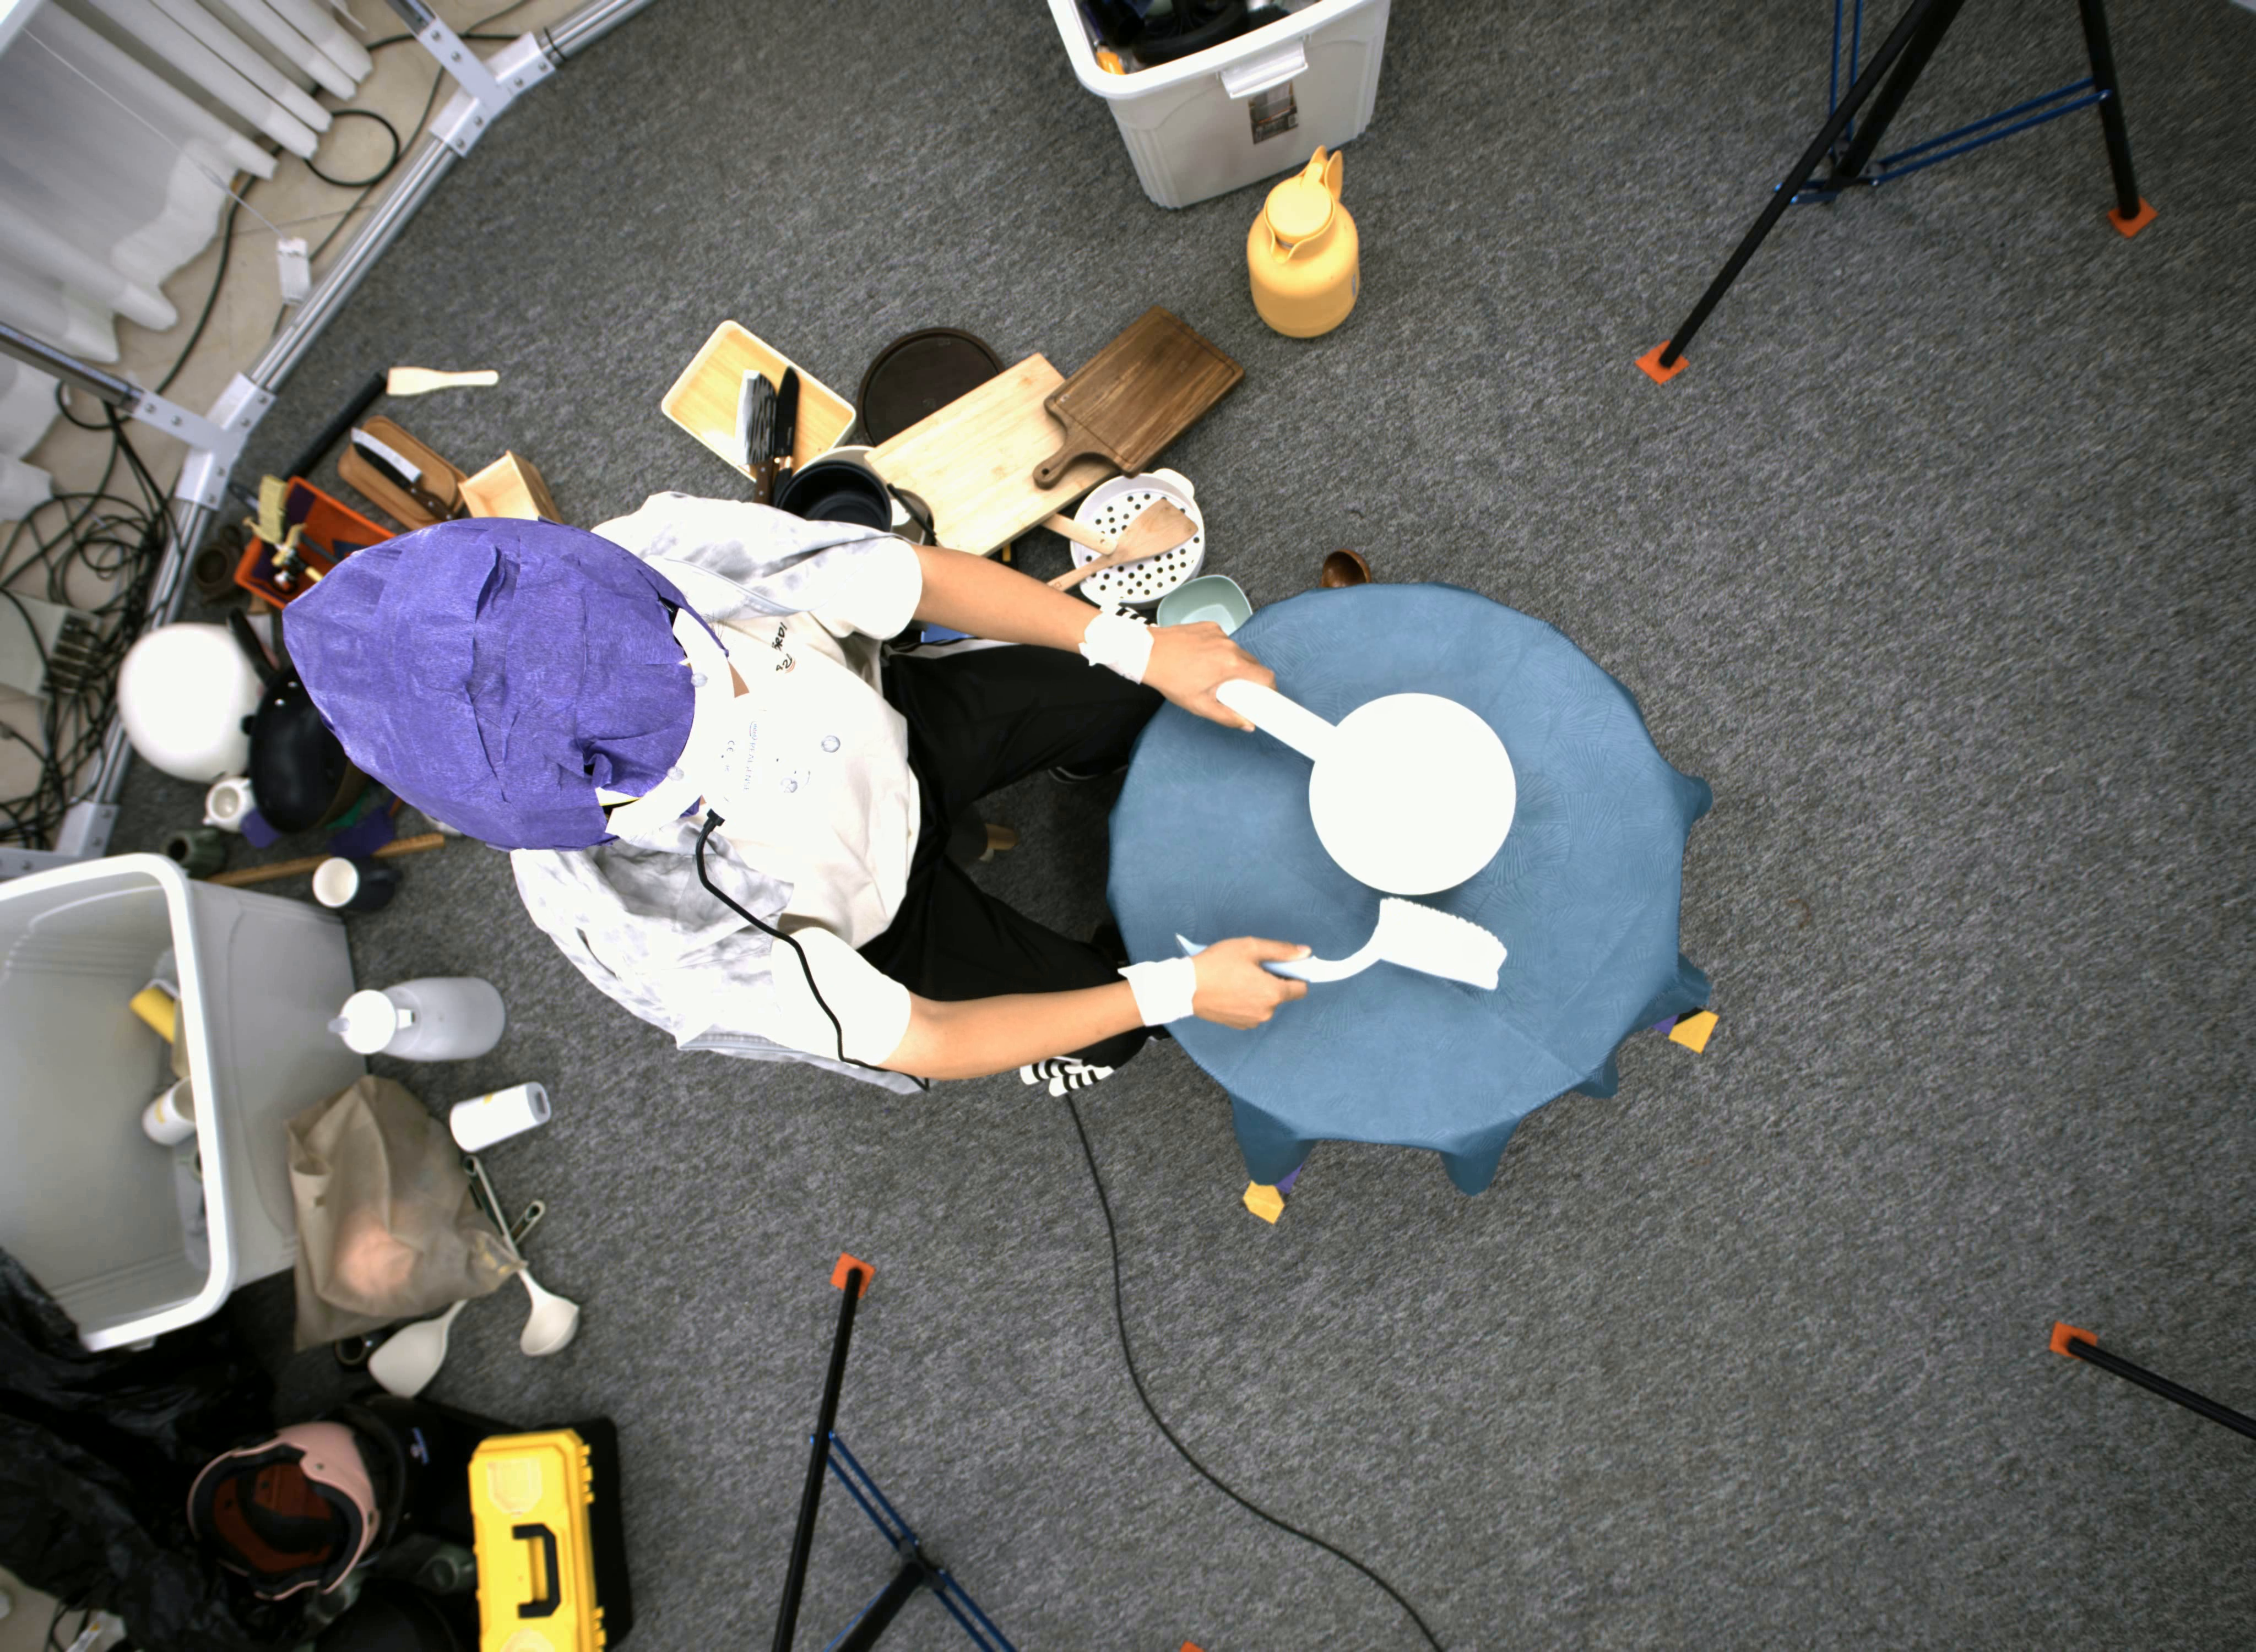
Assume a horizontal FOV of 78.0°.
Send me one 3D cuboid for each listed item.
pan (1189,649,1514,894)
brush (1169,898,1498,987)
[{"bbox_3d":[0.224,-0.070,1.424,0.354,0.102,0.201,32,93,11],"label":"pan"},{"bbox_3d":[0.205,0.104,1.384,0.326,0.082,0.085,5,120,6],"label":"brush"}]
